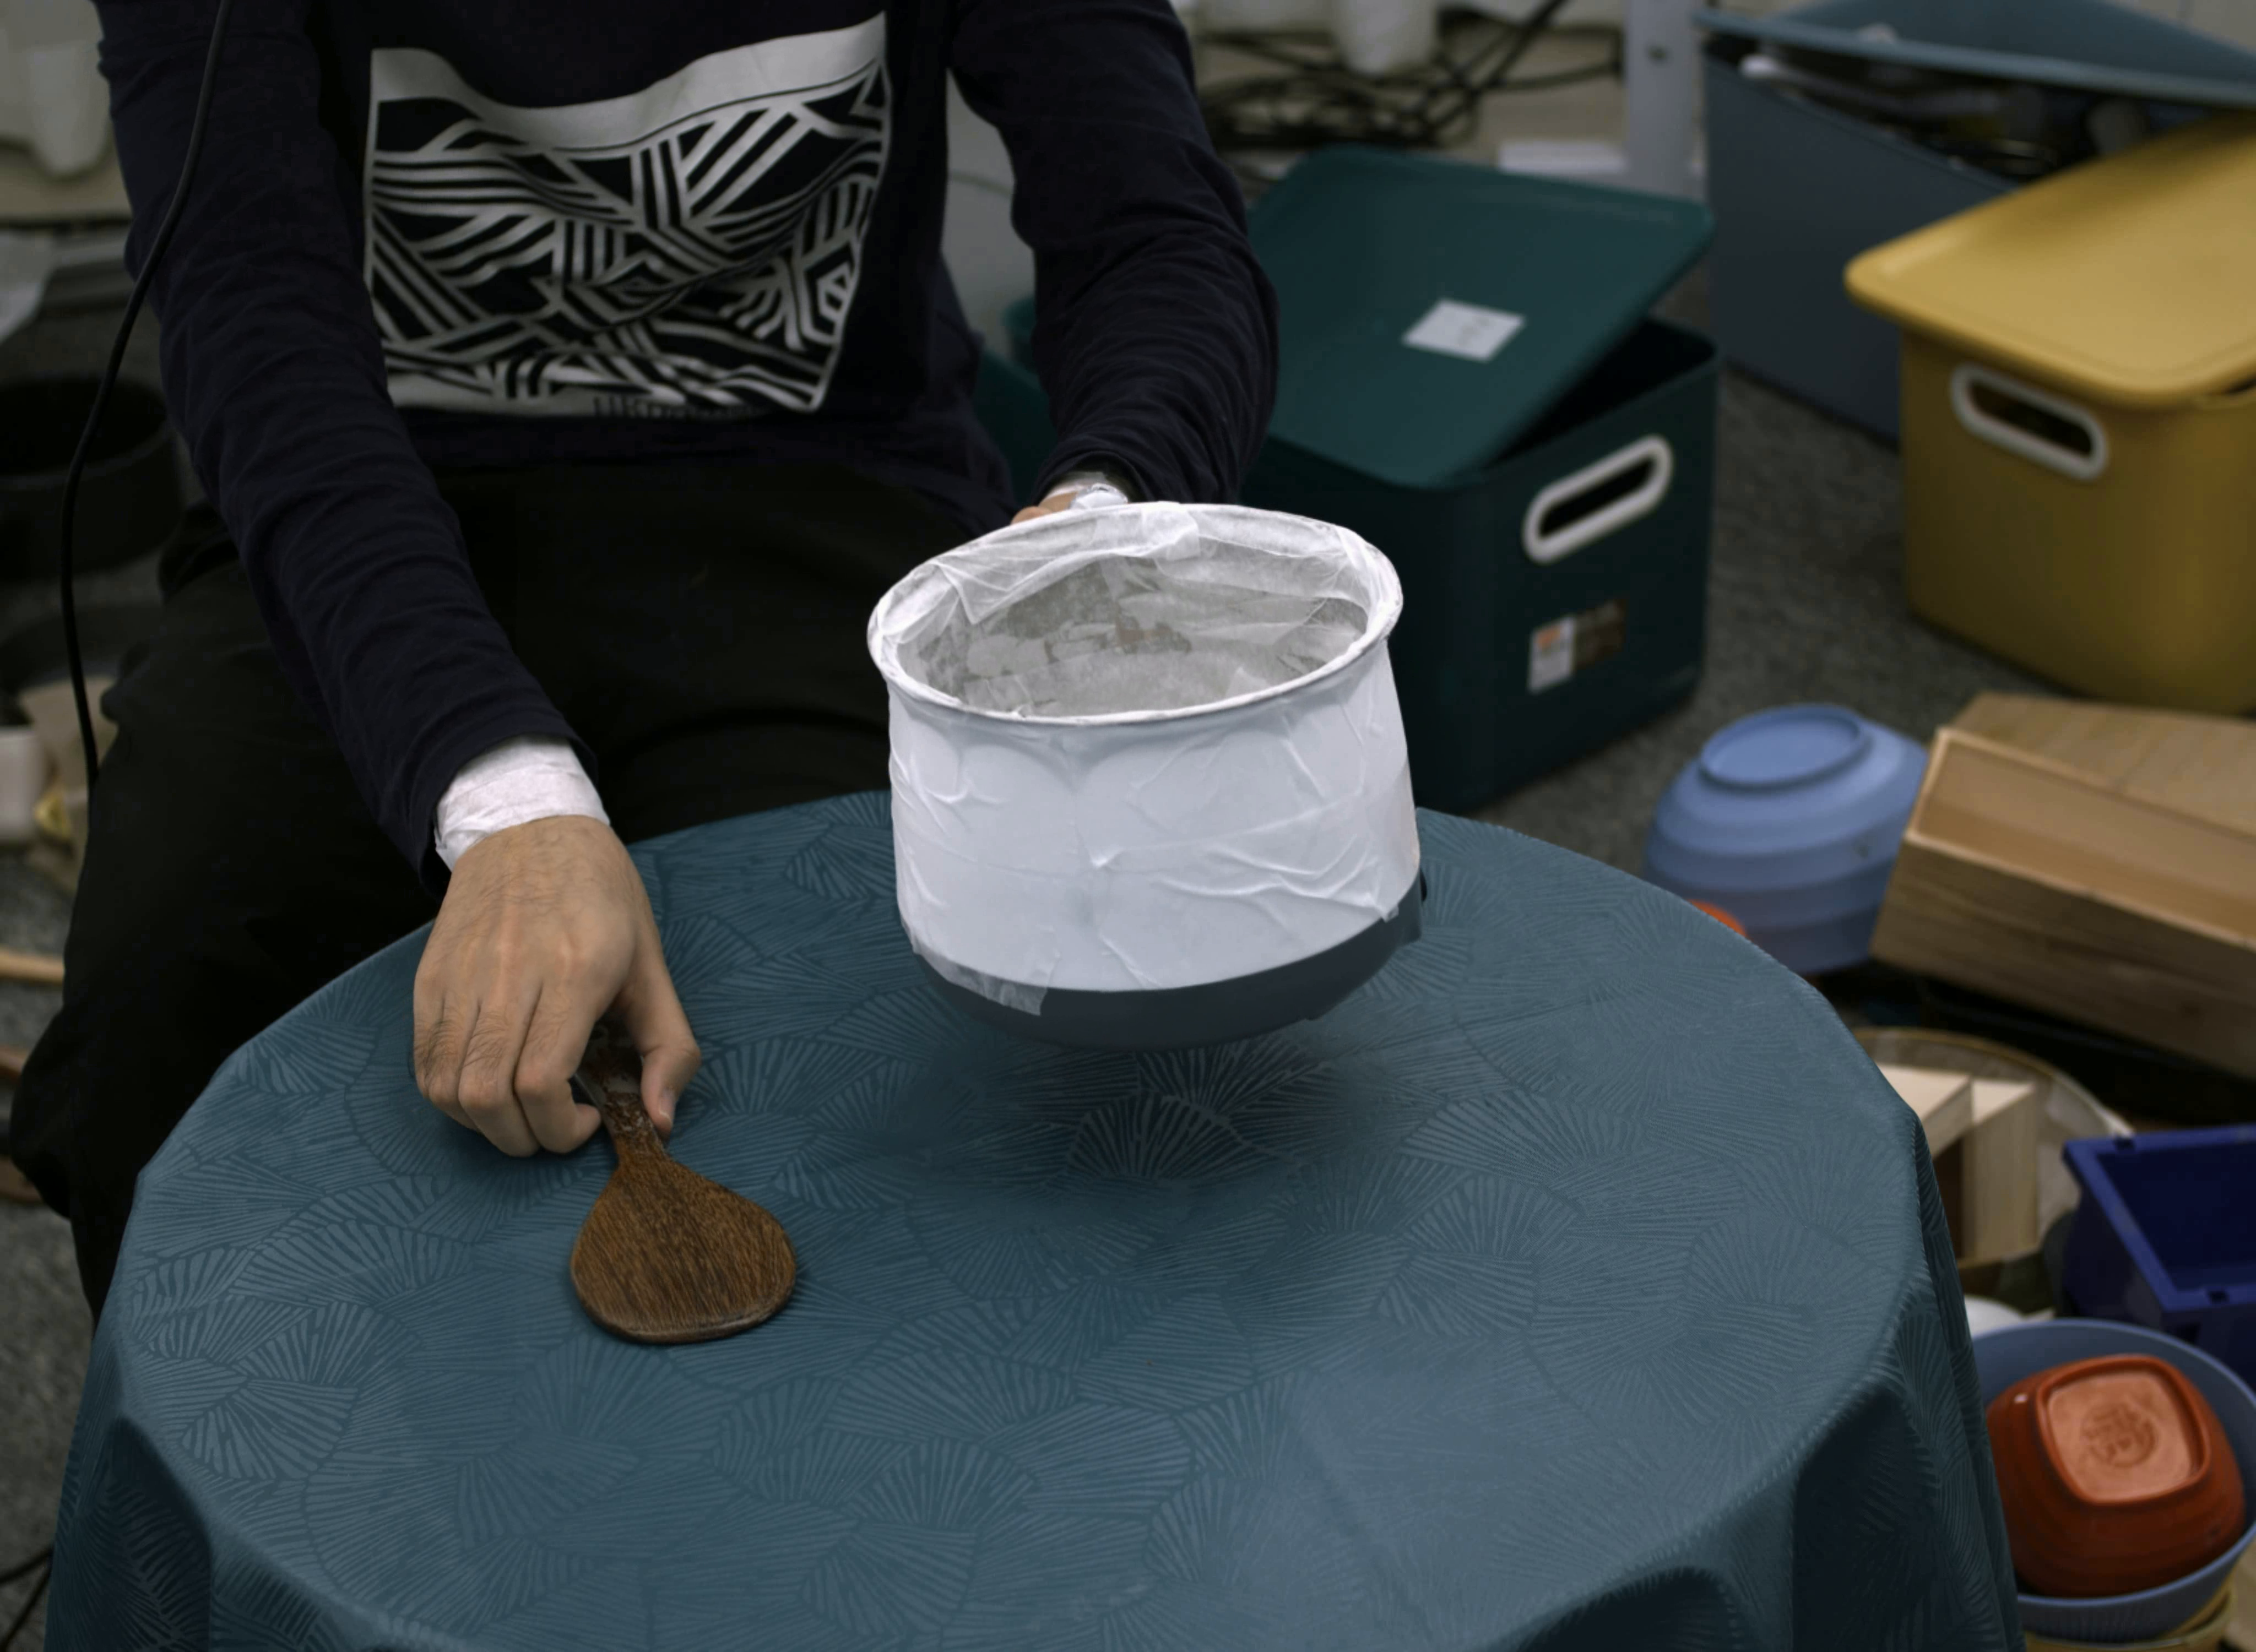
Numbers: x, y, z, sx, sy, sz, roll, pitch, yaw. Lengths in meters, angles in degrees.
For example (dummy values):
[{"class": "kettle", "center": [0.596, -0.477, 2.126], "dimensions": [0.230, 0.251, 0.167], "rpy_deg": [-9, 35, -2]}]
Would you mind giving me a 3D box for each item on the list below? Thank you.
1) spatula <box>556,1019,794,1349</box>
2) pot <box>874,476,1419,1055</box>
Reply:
[{"class": "spatula", "center": [-0.162, 0.116, 1.881], "dimensions": [0.072, 0.009, 0.218], "rpy_deg": [-8, 27, -12]}, {"class": "pot", "center": [0.003, -0.027, 1.893], "dimensions": [0.178, 0.135, 0.236], "rpy_deg": [-6, 26, -7]}]
